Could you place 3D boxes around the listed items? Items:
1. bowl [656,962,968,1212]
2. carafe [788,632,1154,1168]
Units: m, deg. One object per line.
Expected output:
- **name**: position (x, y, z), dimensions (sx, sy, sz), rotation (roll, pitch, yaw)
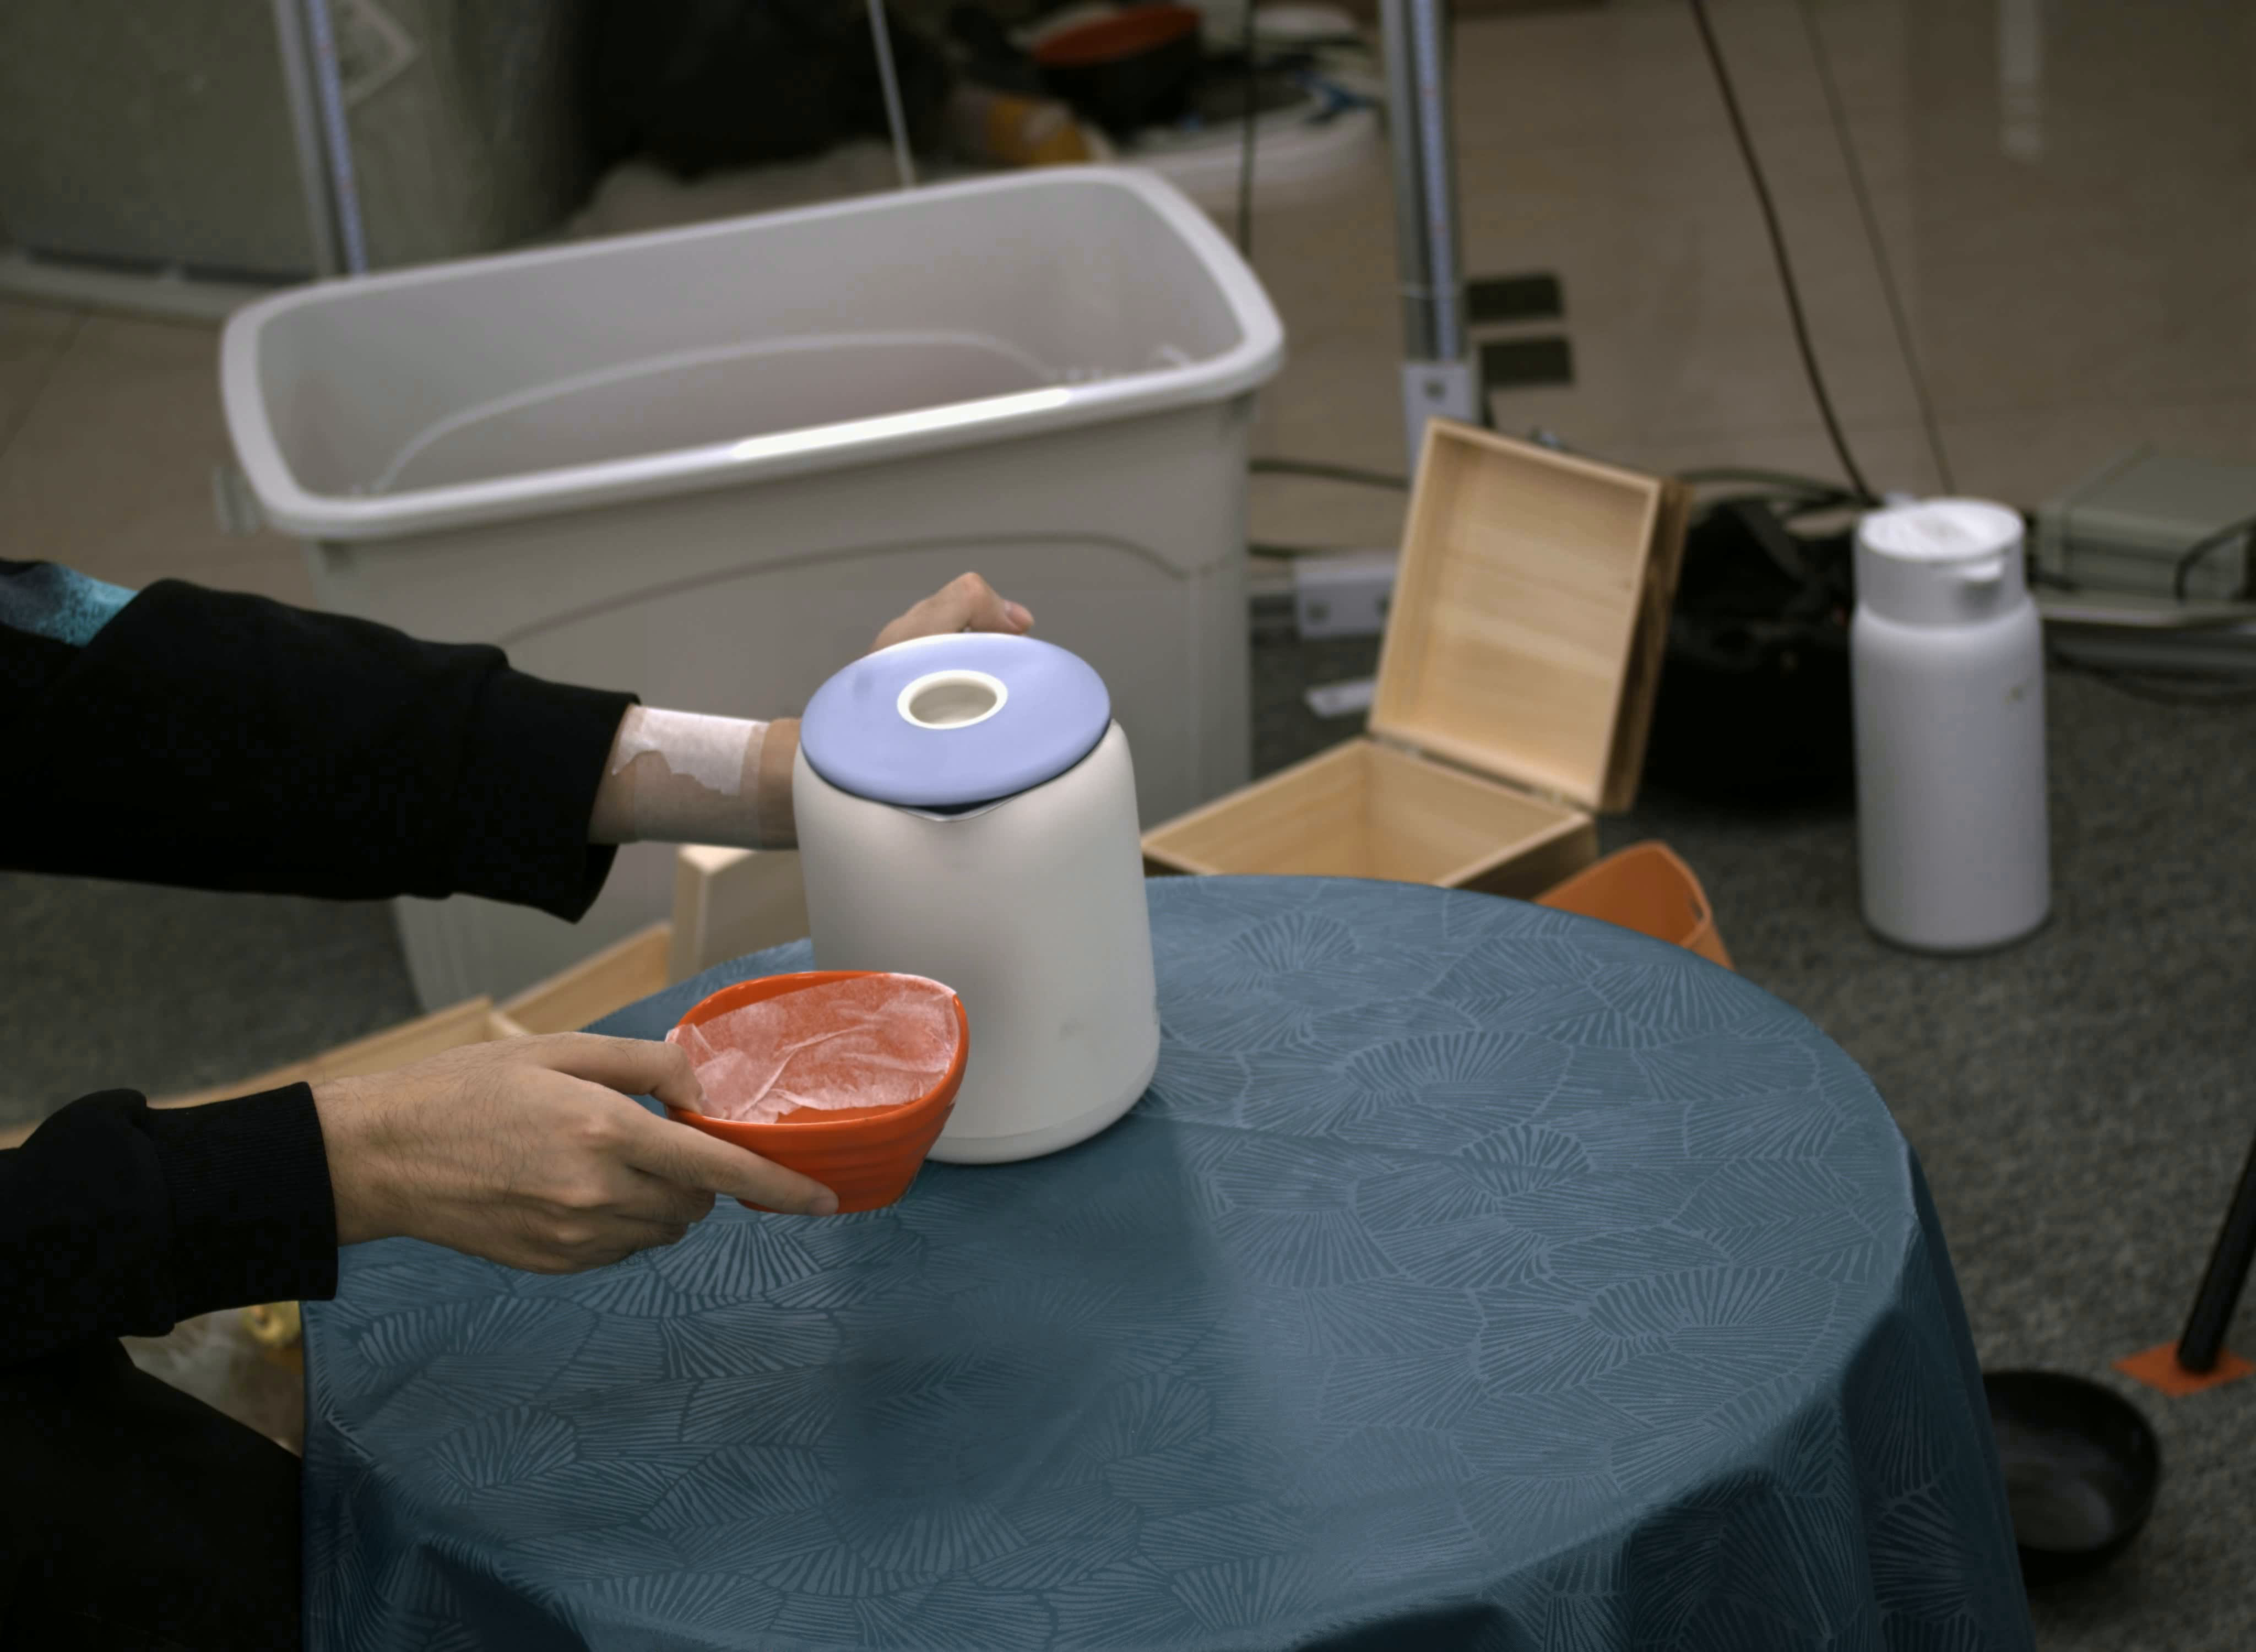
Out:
- **bowl**: position (-0.111, 0.098, 2.017), dimensions (0.119, 0.052, 0.117), rotation (-2, 31, 1)
- **carafe**: position (-0.061, 0.016, 2.197), dimensions (0.132, 0.186, 0.188), rotation (-5, 30, -1)
